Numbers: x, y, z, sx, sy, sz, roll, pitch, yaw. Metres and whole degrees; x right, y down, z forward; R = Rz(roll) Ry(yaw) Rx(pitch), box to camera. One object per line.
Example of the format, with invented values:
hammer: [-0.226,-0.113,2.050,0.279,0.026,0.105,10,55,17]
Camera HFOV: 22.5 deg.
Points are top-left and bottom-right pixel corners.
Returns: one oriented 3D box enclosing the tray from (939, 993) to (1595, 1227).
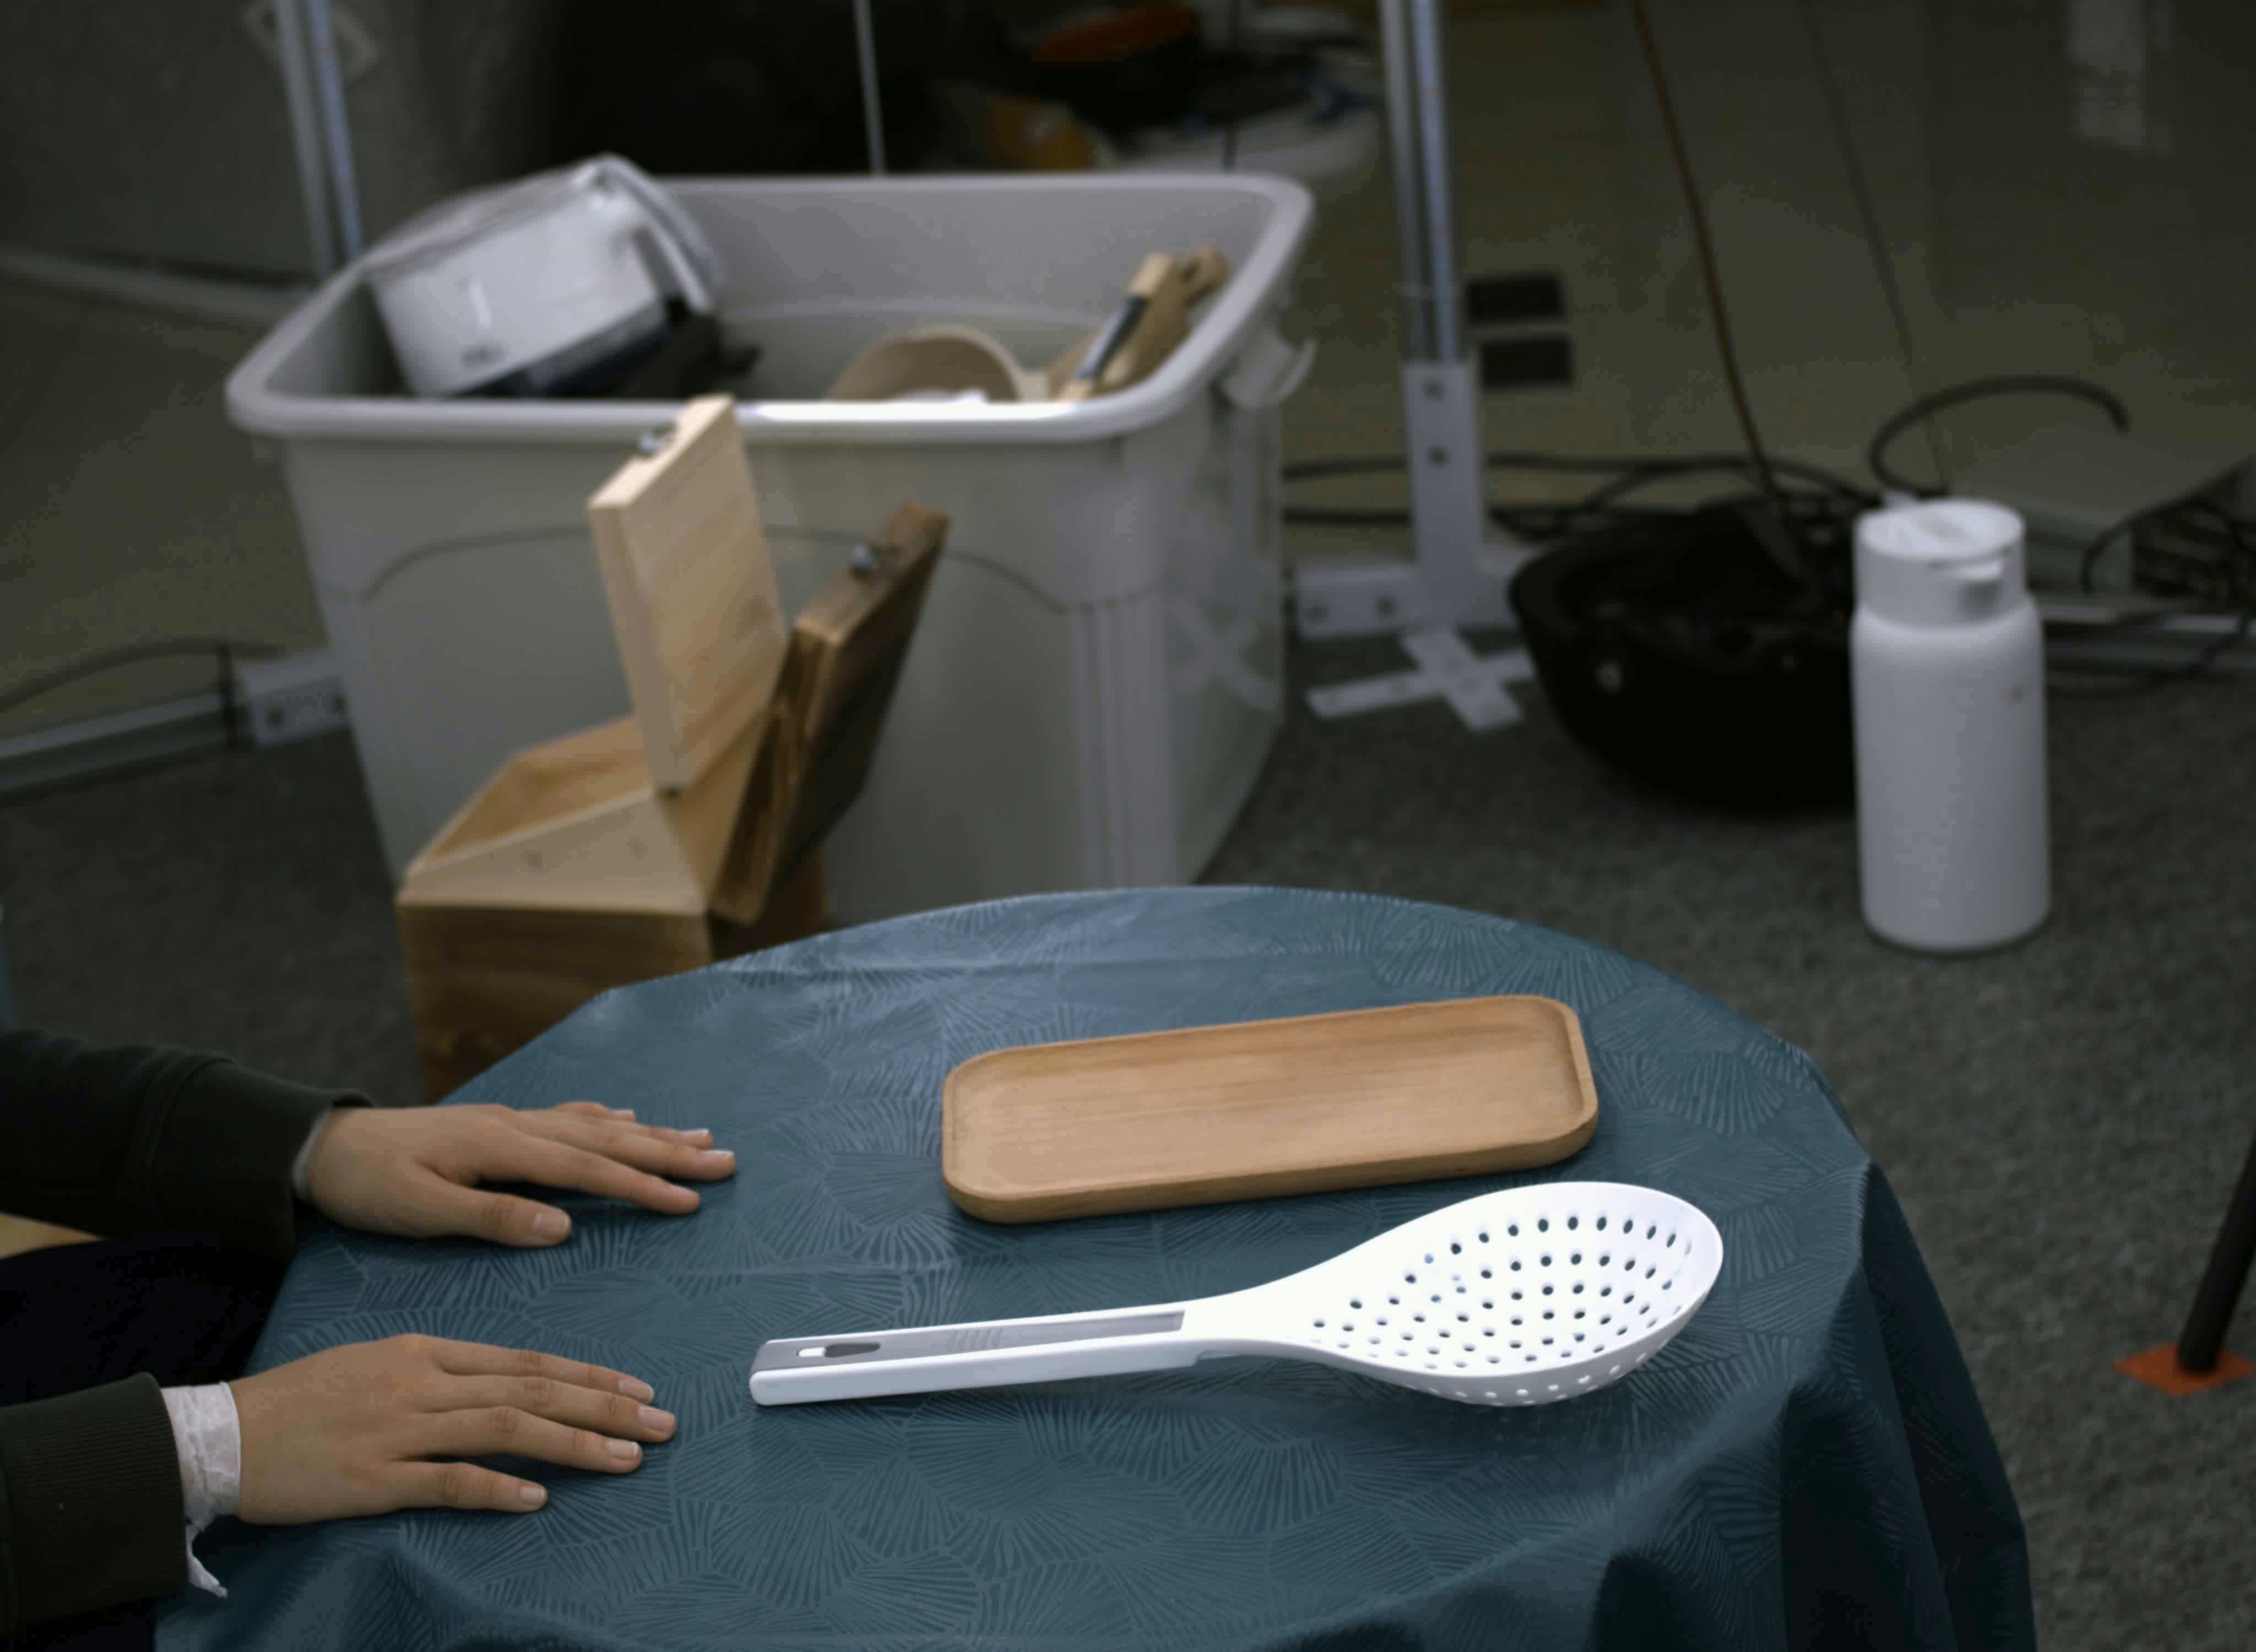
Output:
tray: [0.052,0.109,2.184,0.250,0.023,0.129,-7,23,2]

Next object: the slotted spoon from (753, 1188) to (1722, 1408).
slotted spoon: [0.036,0.178,2.007,0.349,0.046,0.134,-3,23,10]
